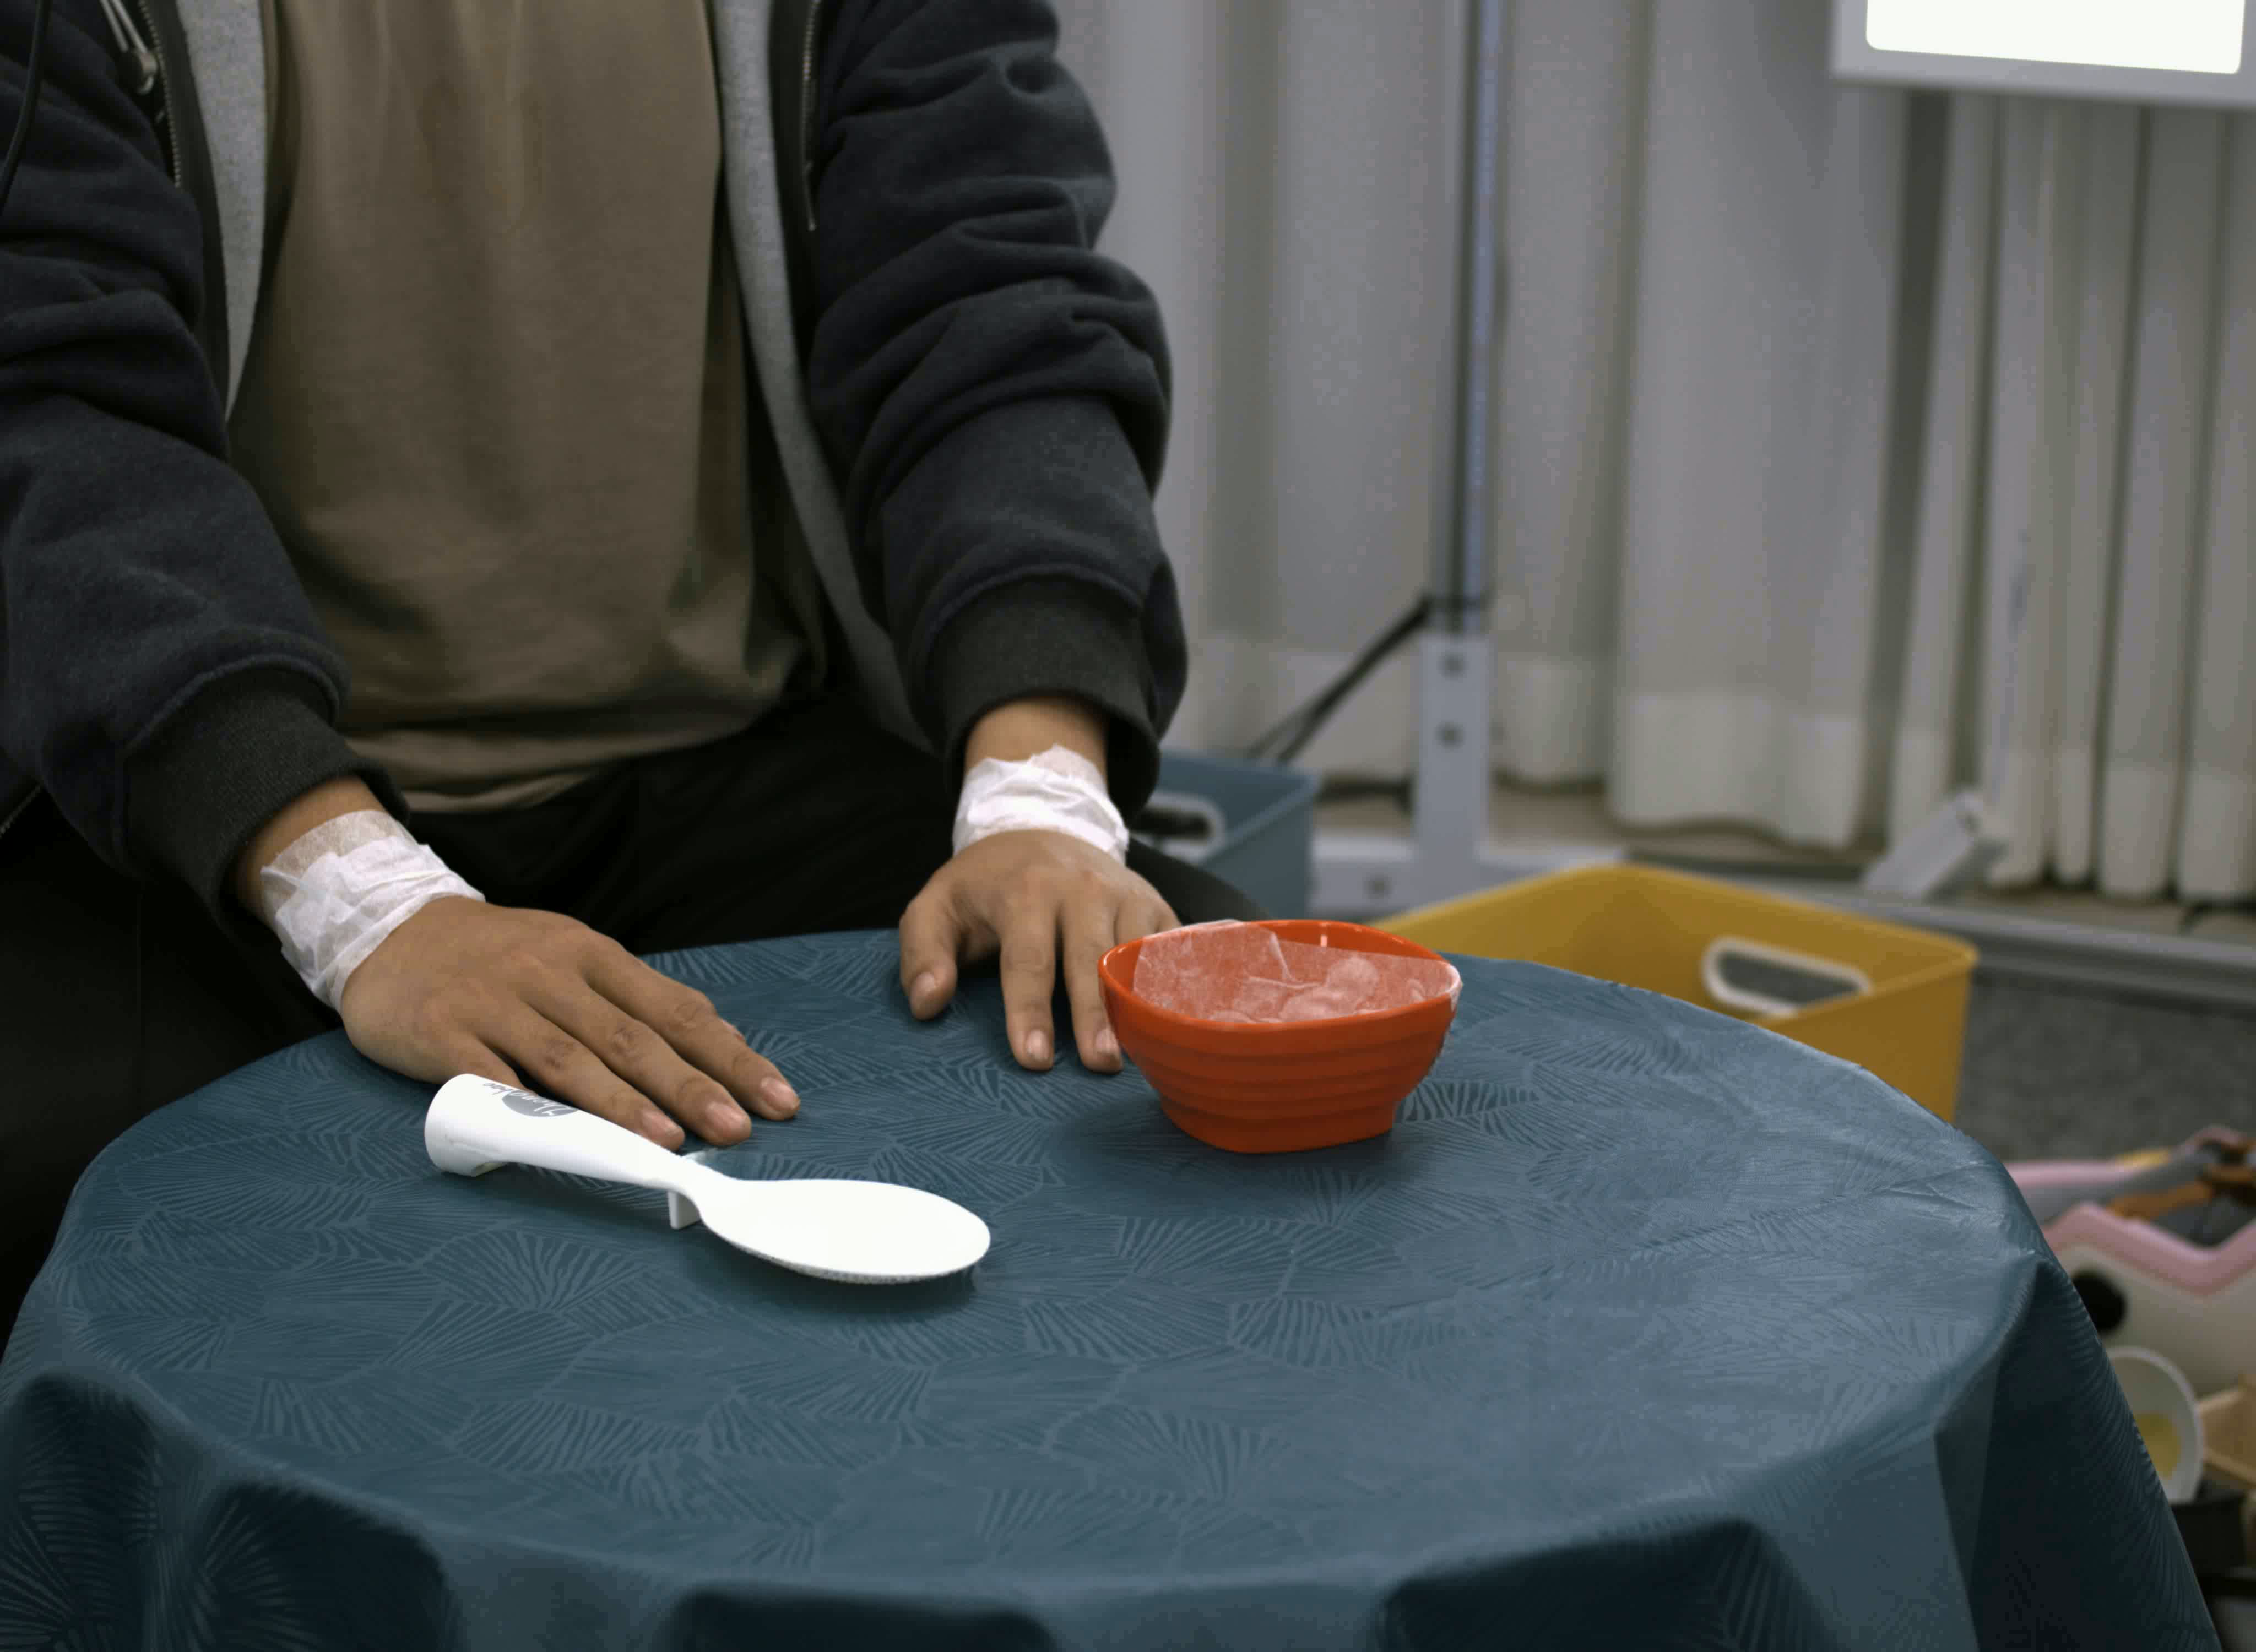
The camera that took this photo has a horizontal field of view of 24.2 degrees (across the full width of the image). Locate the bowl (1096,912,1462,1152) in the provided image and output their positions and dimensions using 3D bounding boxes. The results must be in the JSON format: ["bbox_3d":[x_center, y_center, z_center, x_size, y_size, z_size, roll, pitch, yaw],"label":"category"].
[{"bbox_3d":[0.047,0.068,1.684,0.118,0.052,0.118,1,17,0],"label":"bowl"}]

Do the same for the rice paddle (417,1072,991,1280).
[{"bbox_3d":[-0.128,0.107,1.582,0.202,0.029,0.069,11,20,33],"label":"rice paddle"}]
